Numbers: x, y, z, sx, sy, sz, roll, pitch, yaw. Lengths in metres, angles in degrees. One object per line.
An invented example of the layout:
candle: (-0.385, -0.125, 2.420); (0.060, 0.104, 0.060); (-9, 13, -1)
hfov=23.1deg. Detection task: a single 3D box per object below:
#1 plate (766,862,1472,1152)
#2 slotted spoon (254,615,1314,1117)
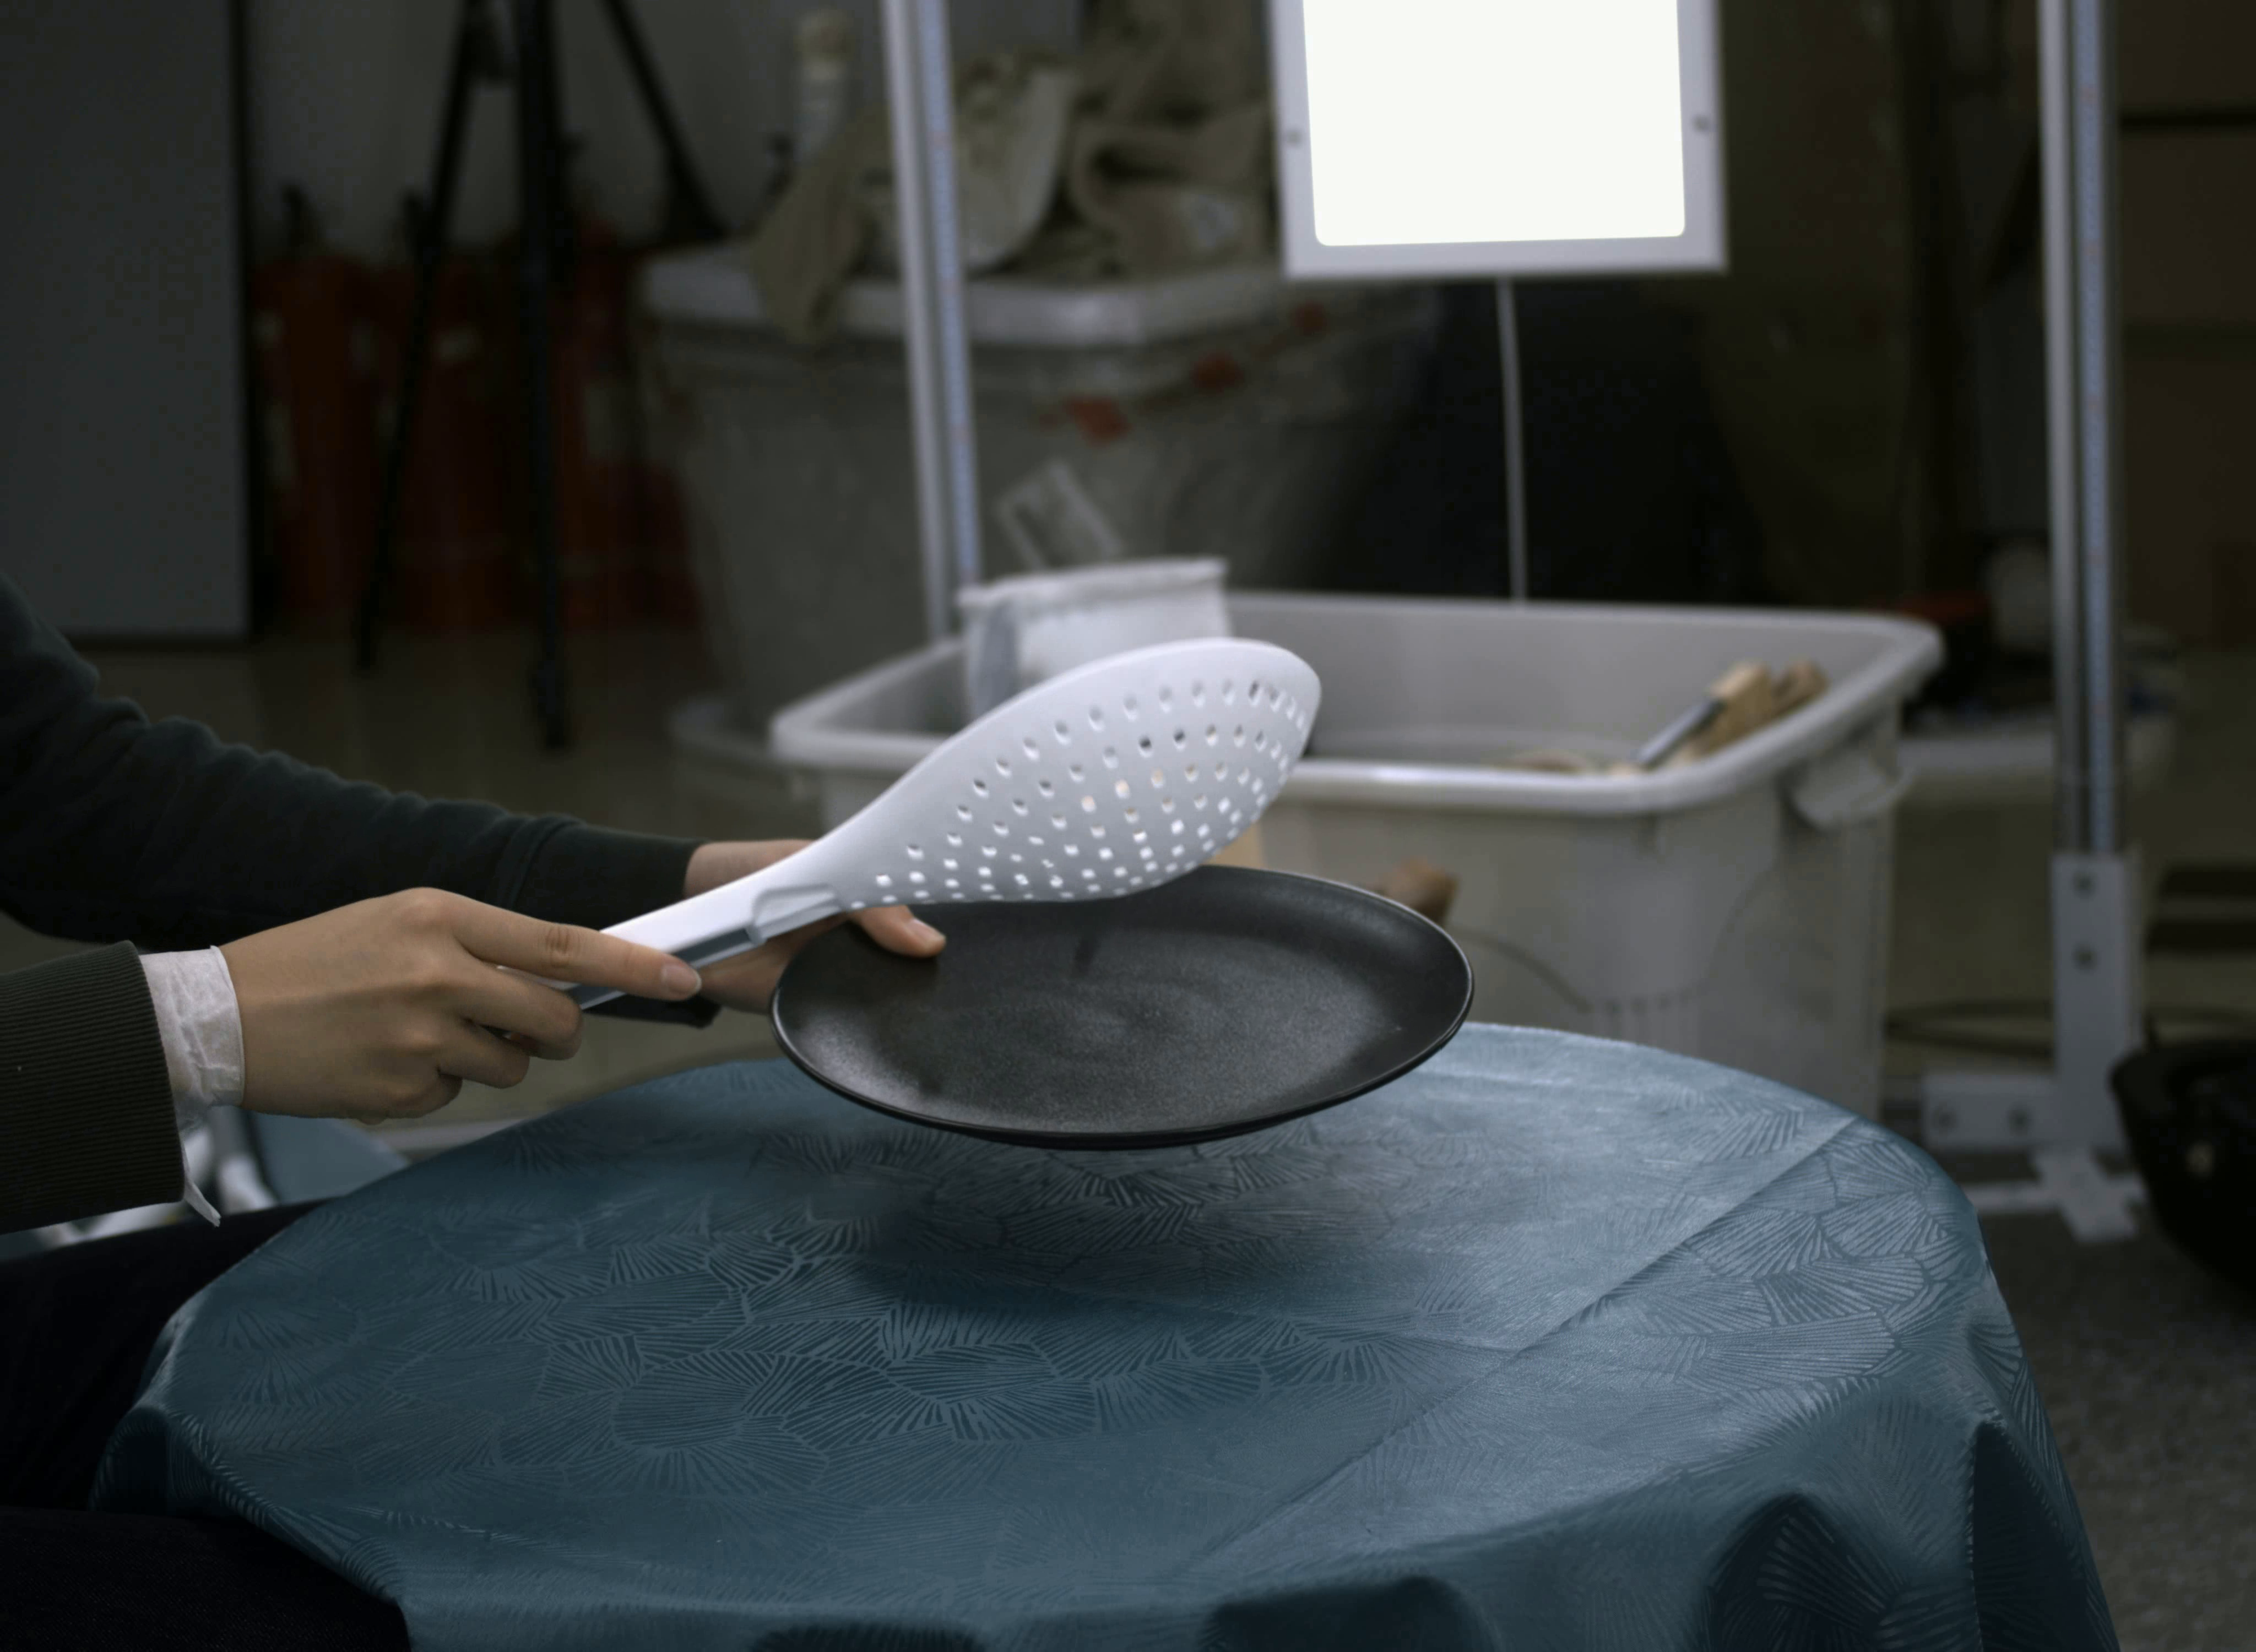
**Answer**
plate: (-0.003, 0.065, 1.889); (0.244, 0.023, 0.244); (-3, 21, 0)
slotted spoon: (-0.104, 0.019, 1.703); (0.350, 0.046, 0.135); (-17, -26, 4)
